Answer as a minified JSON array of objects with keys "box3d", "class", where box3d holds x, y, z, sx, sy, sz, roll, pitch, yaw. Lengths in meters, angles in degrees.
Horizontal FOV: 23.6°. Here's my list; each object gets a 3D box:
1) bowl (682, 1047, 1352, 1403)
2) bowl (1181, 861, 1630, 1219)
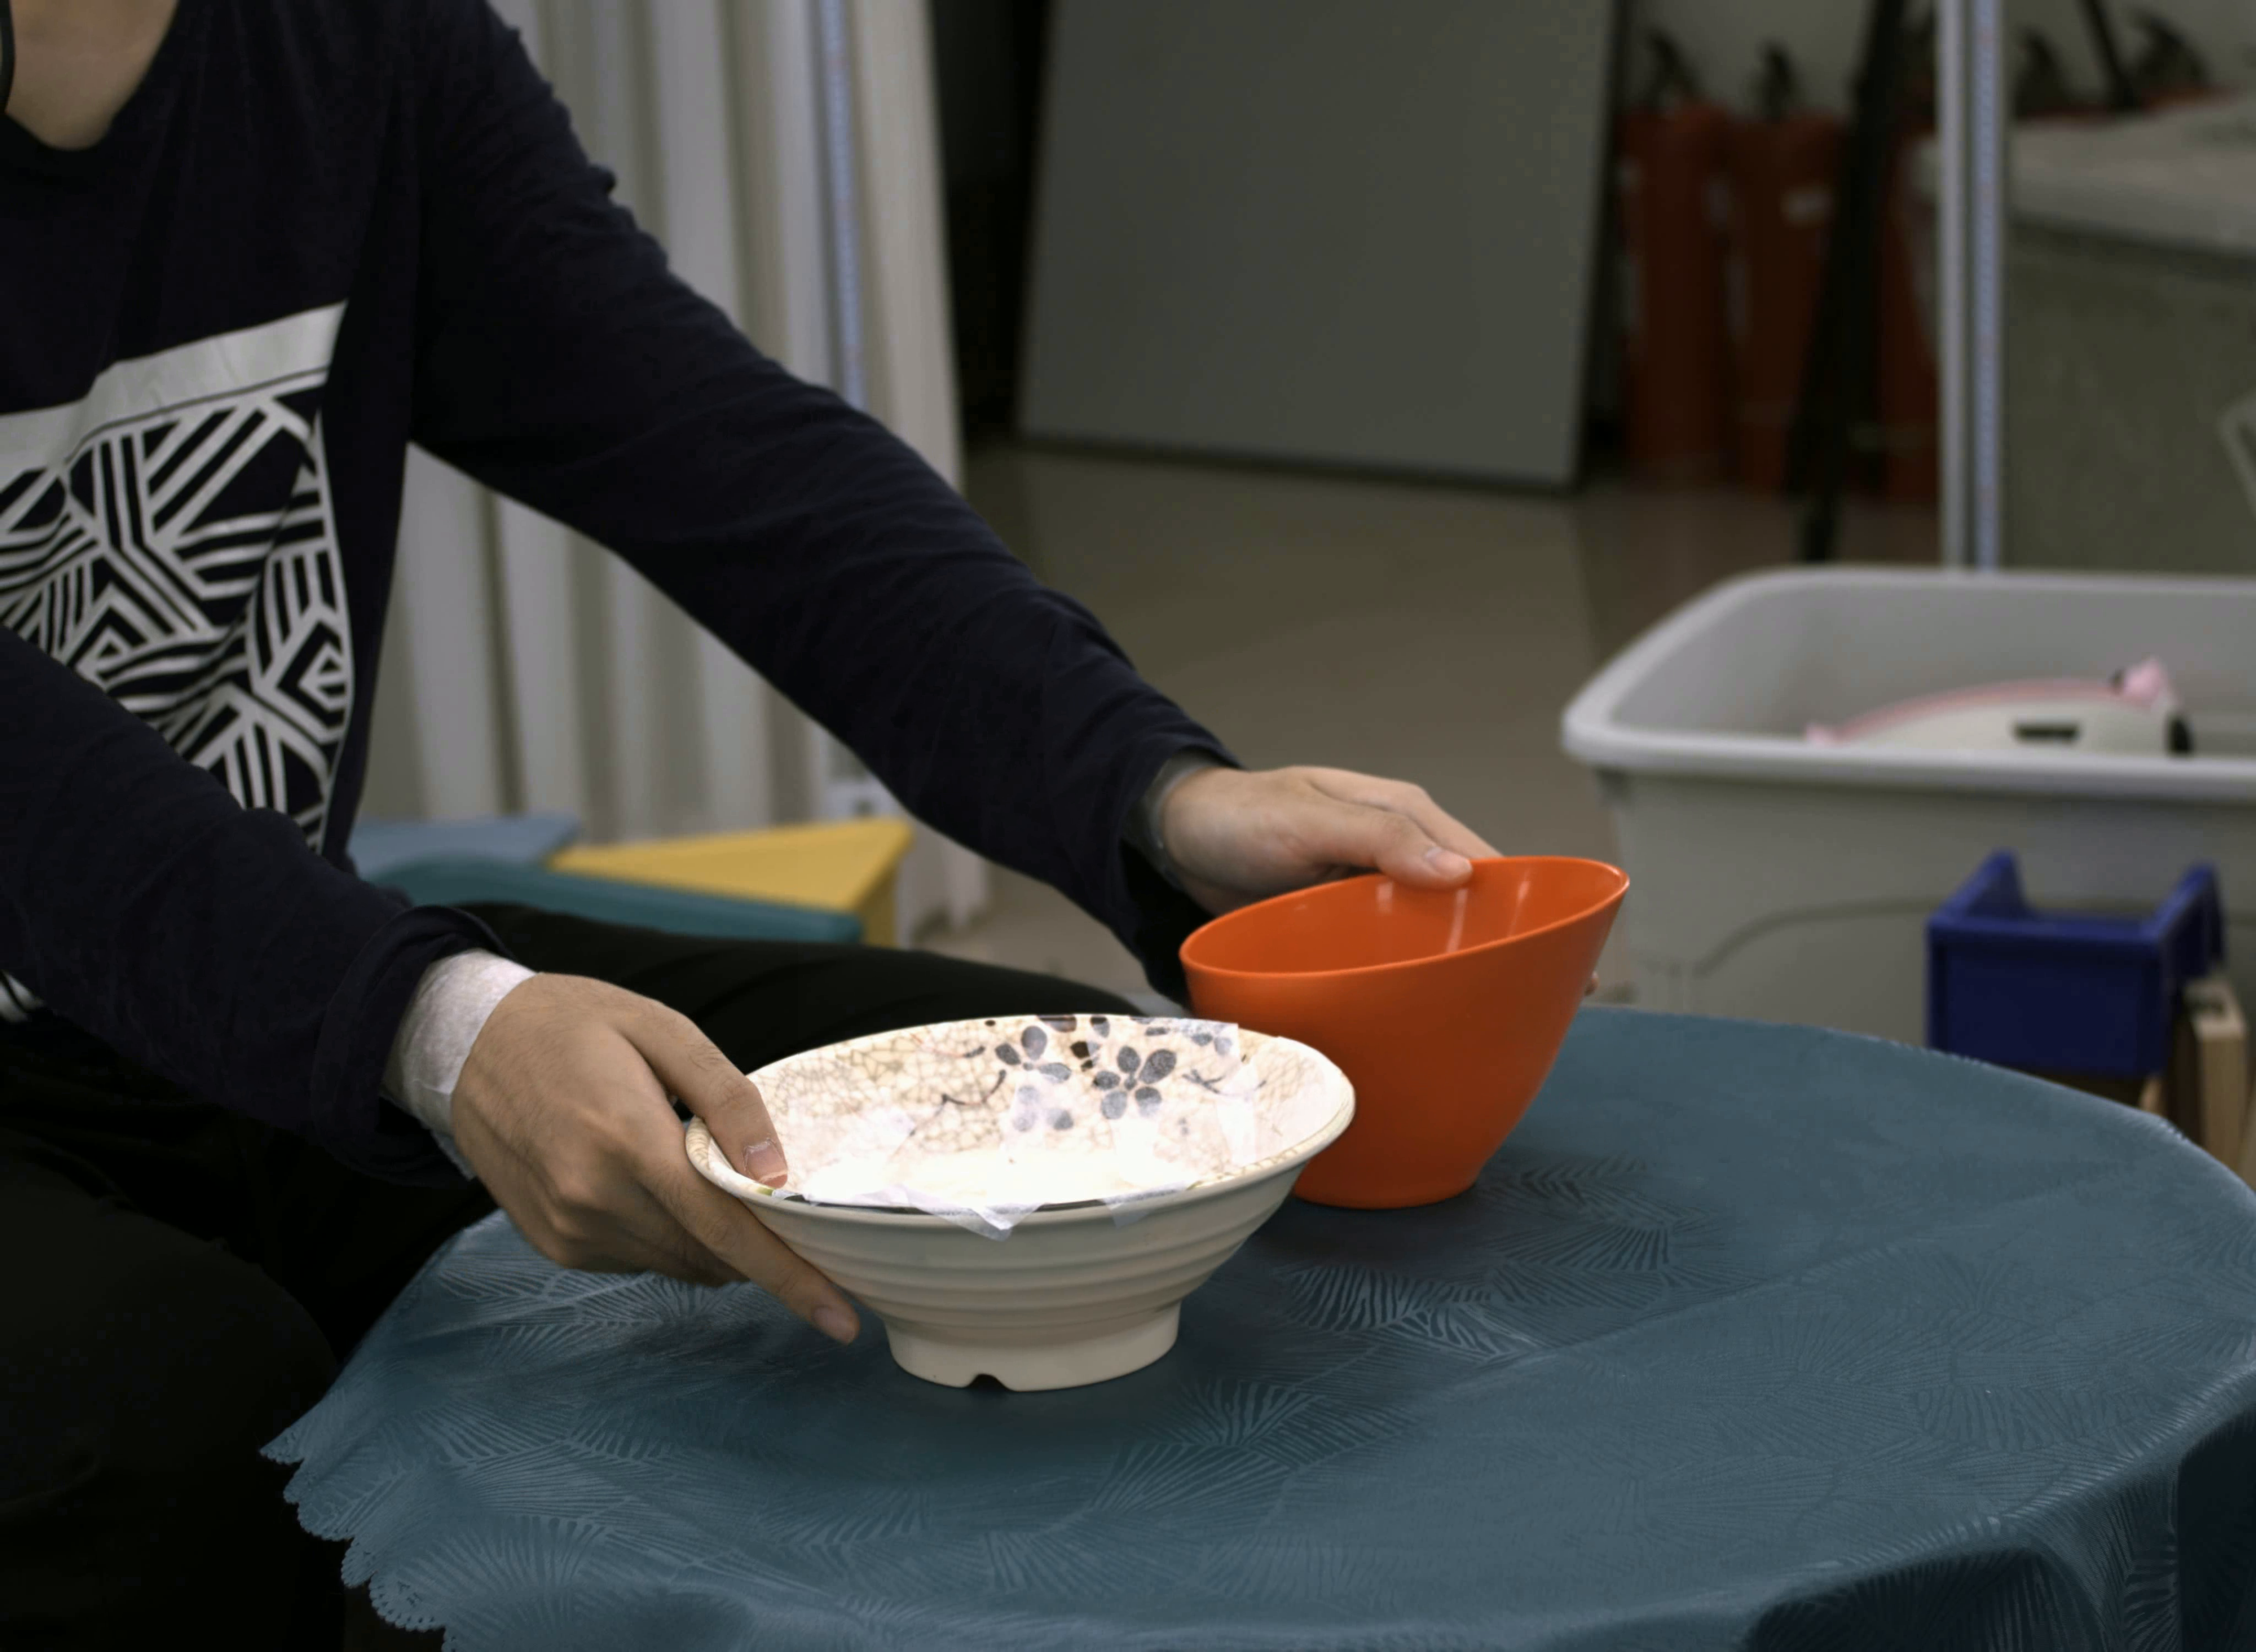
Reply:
[{"box3d":[-0.030,0.124,1.620,0.201,0.079,0.204,-6,9,0],"class":"bowl"},{"box3d":[0.090,0.069,1.748,0.146,0.106,0.148,-3,13,0],"class":"bowl"}]
